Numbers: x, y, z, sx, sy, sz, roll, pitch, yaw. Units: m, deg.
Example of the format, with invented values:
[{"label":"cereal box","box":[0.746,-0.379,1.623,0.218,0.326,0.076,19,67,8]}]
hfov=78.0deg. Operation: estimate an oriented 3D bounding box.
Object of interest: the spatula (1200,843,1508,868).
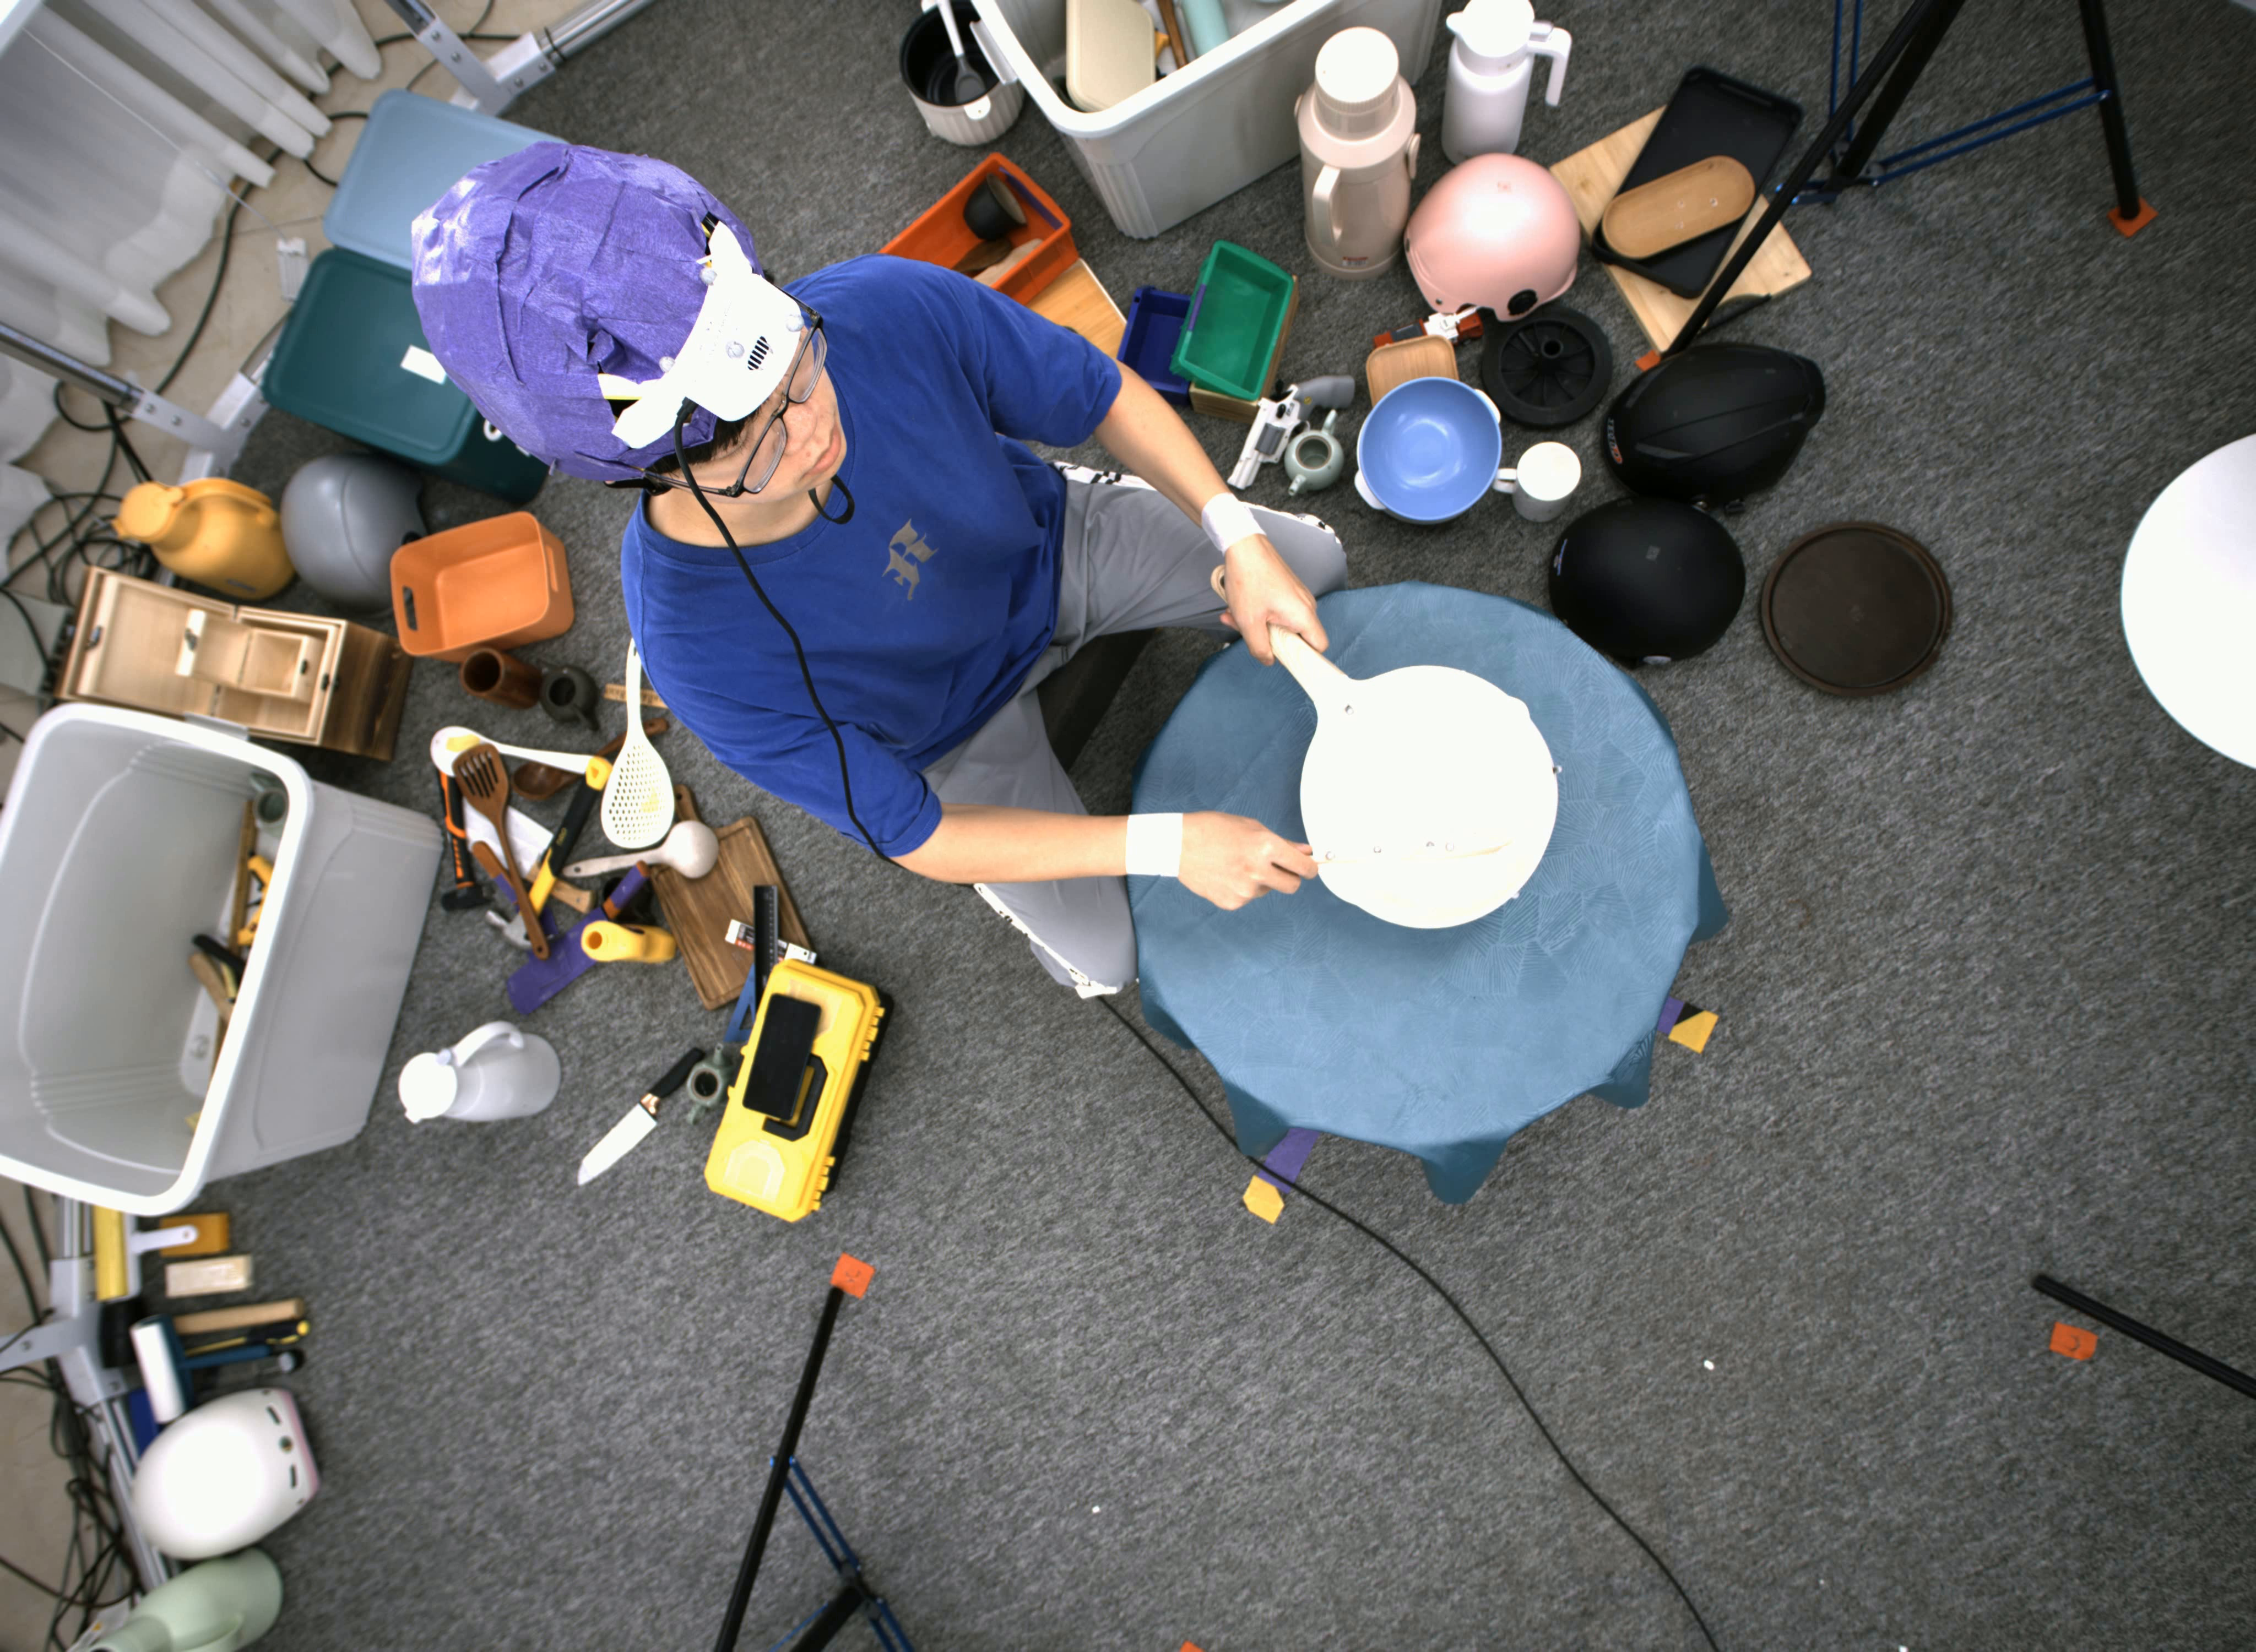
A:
[{"label":"spatula","box":[0.216,0.029,1.332,0.293,0.072,0.010,-3,84,3]}]

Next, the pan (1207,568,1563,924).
[{"label":"pan","box":[0.244,-0.102,1.363,0.431,0.101,0.268,50,119,15]}]
